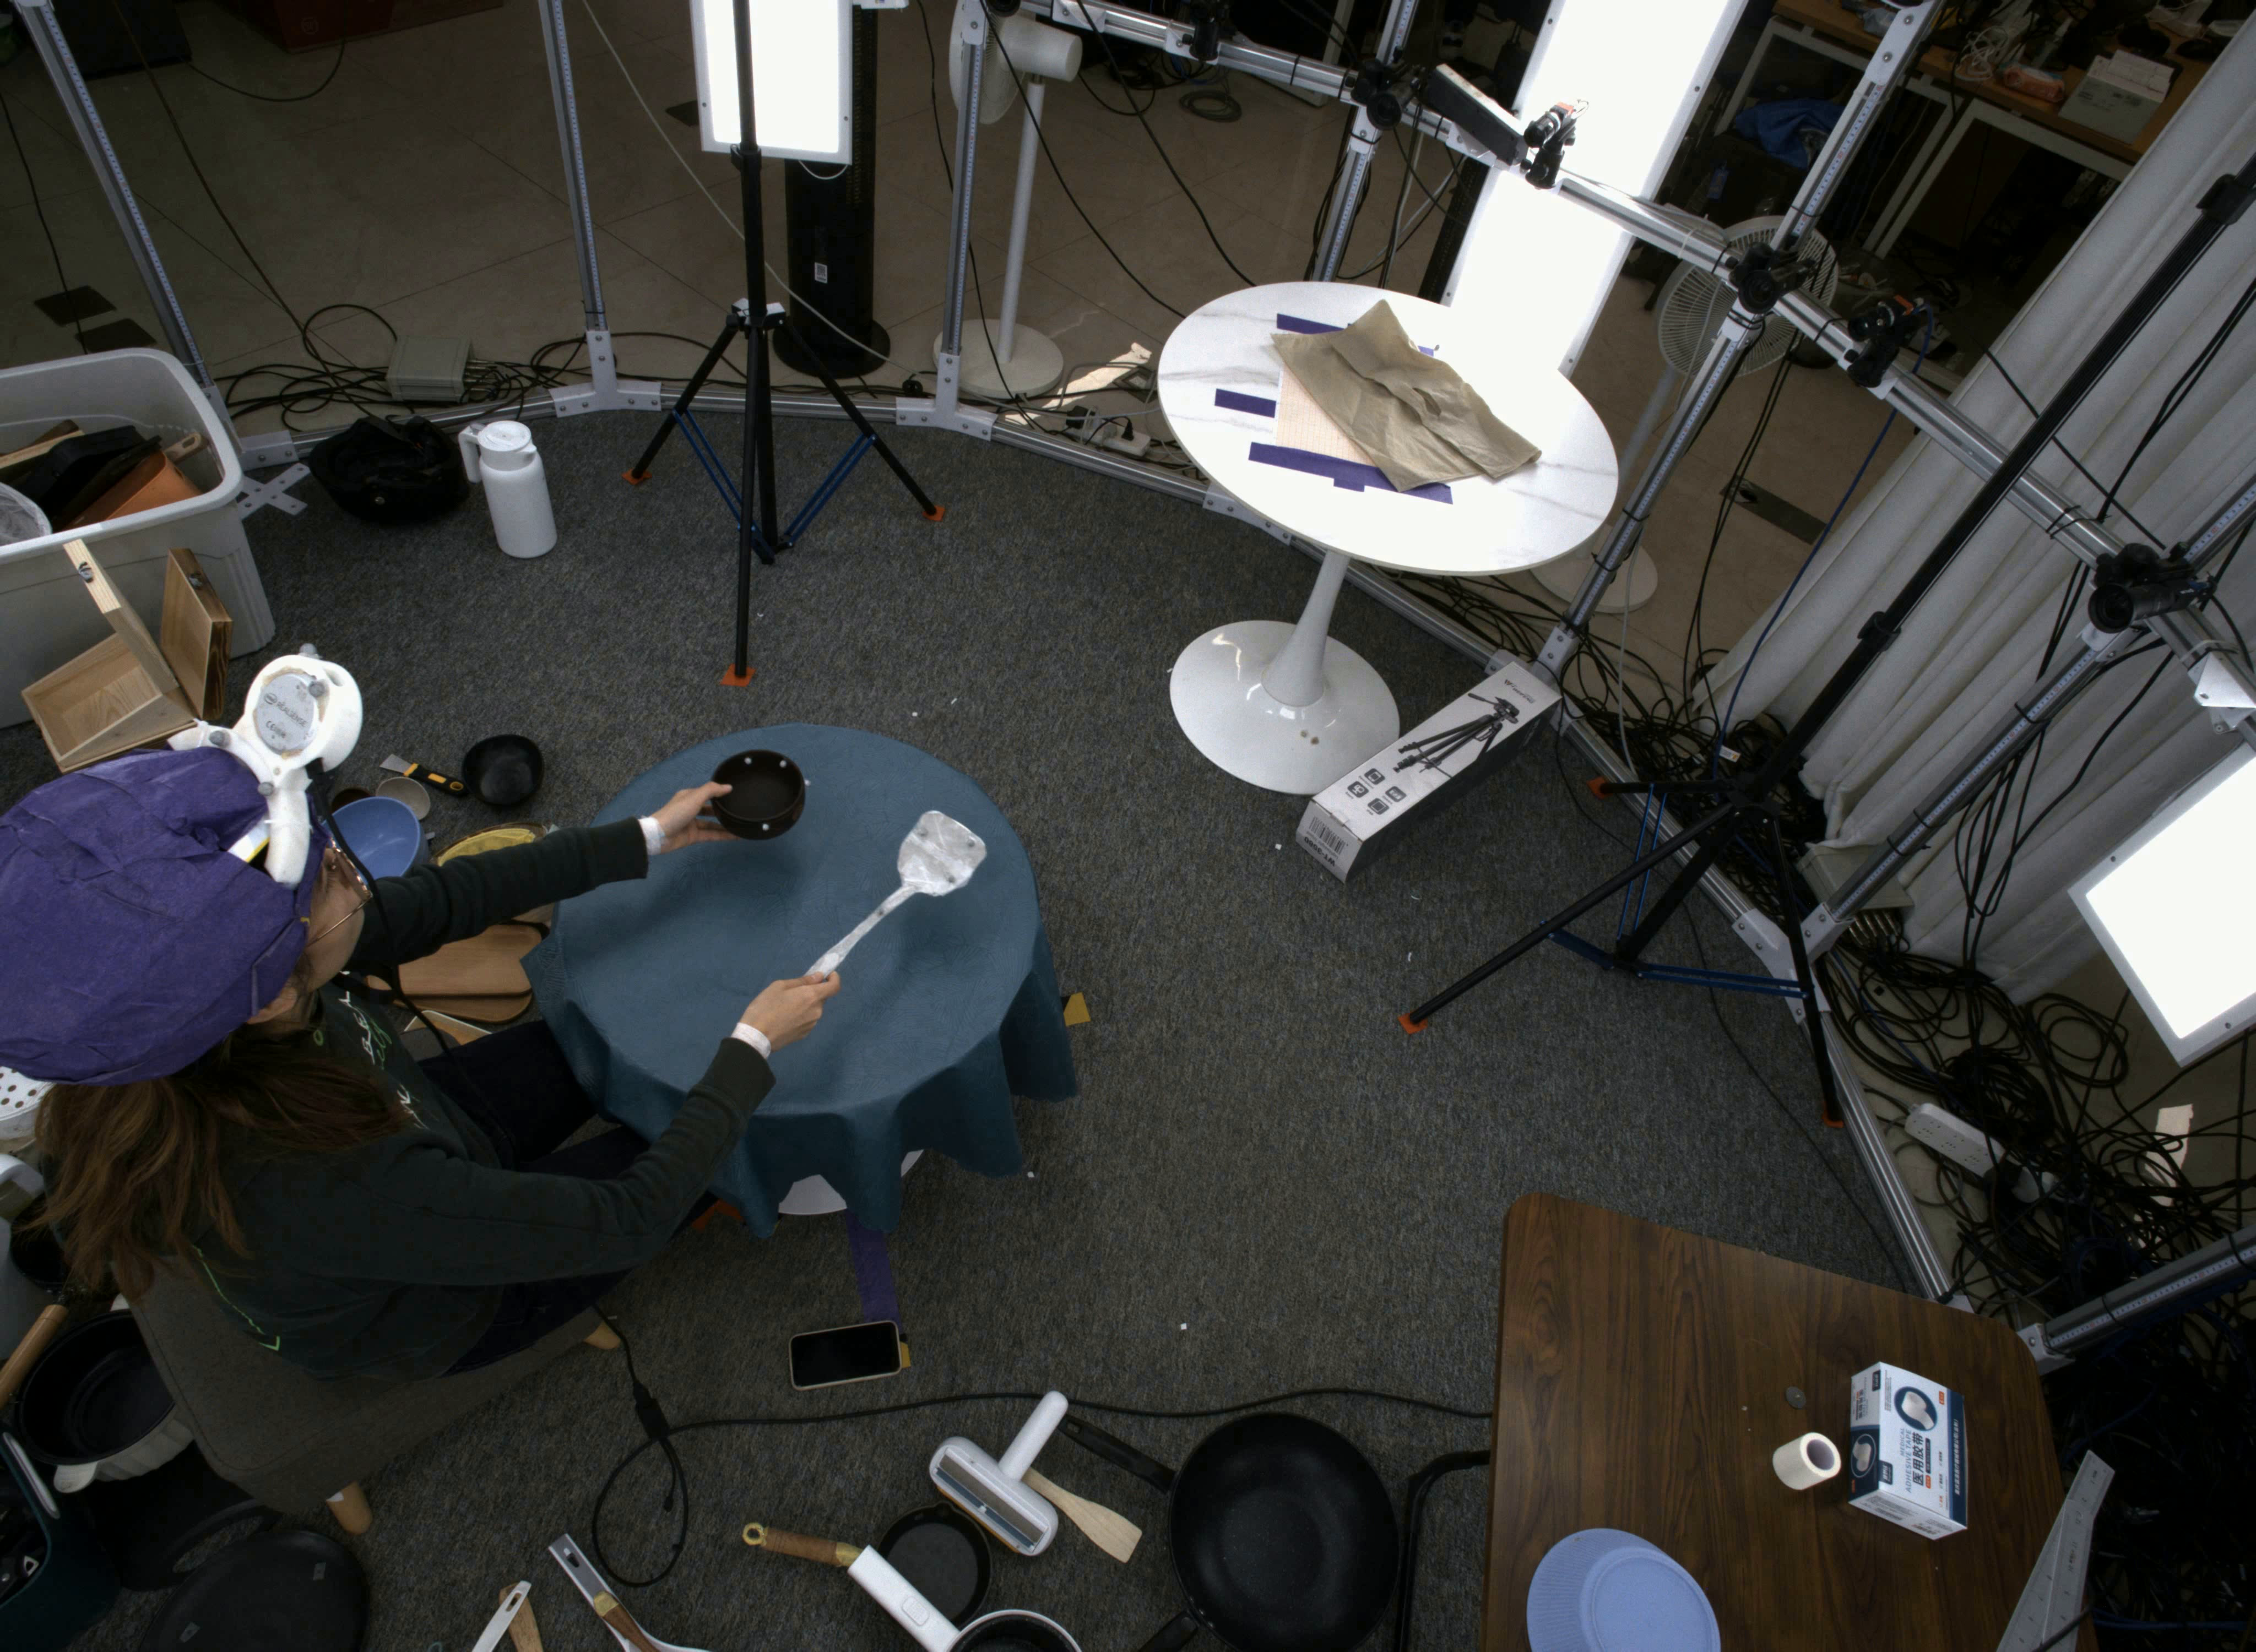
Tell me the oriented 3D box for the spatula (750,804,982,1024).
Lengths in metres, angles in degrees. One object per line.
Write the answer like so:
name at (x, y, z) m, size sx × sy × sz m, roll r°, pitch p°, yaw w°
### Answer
spatula at (-0.310, 0.106, 1.530) m, size 0.097 × 0.045 × 0.364 m, roll 36°, pitch 50°, yaw 7°

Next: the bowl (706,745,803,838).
bowl at (-0.466, -0.036, 1.621) m, size 0.117 × 0.071 × 0.116 m, roll 6°, pitch 52°, yaw -6°
